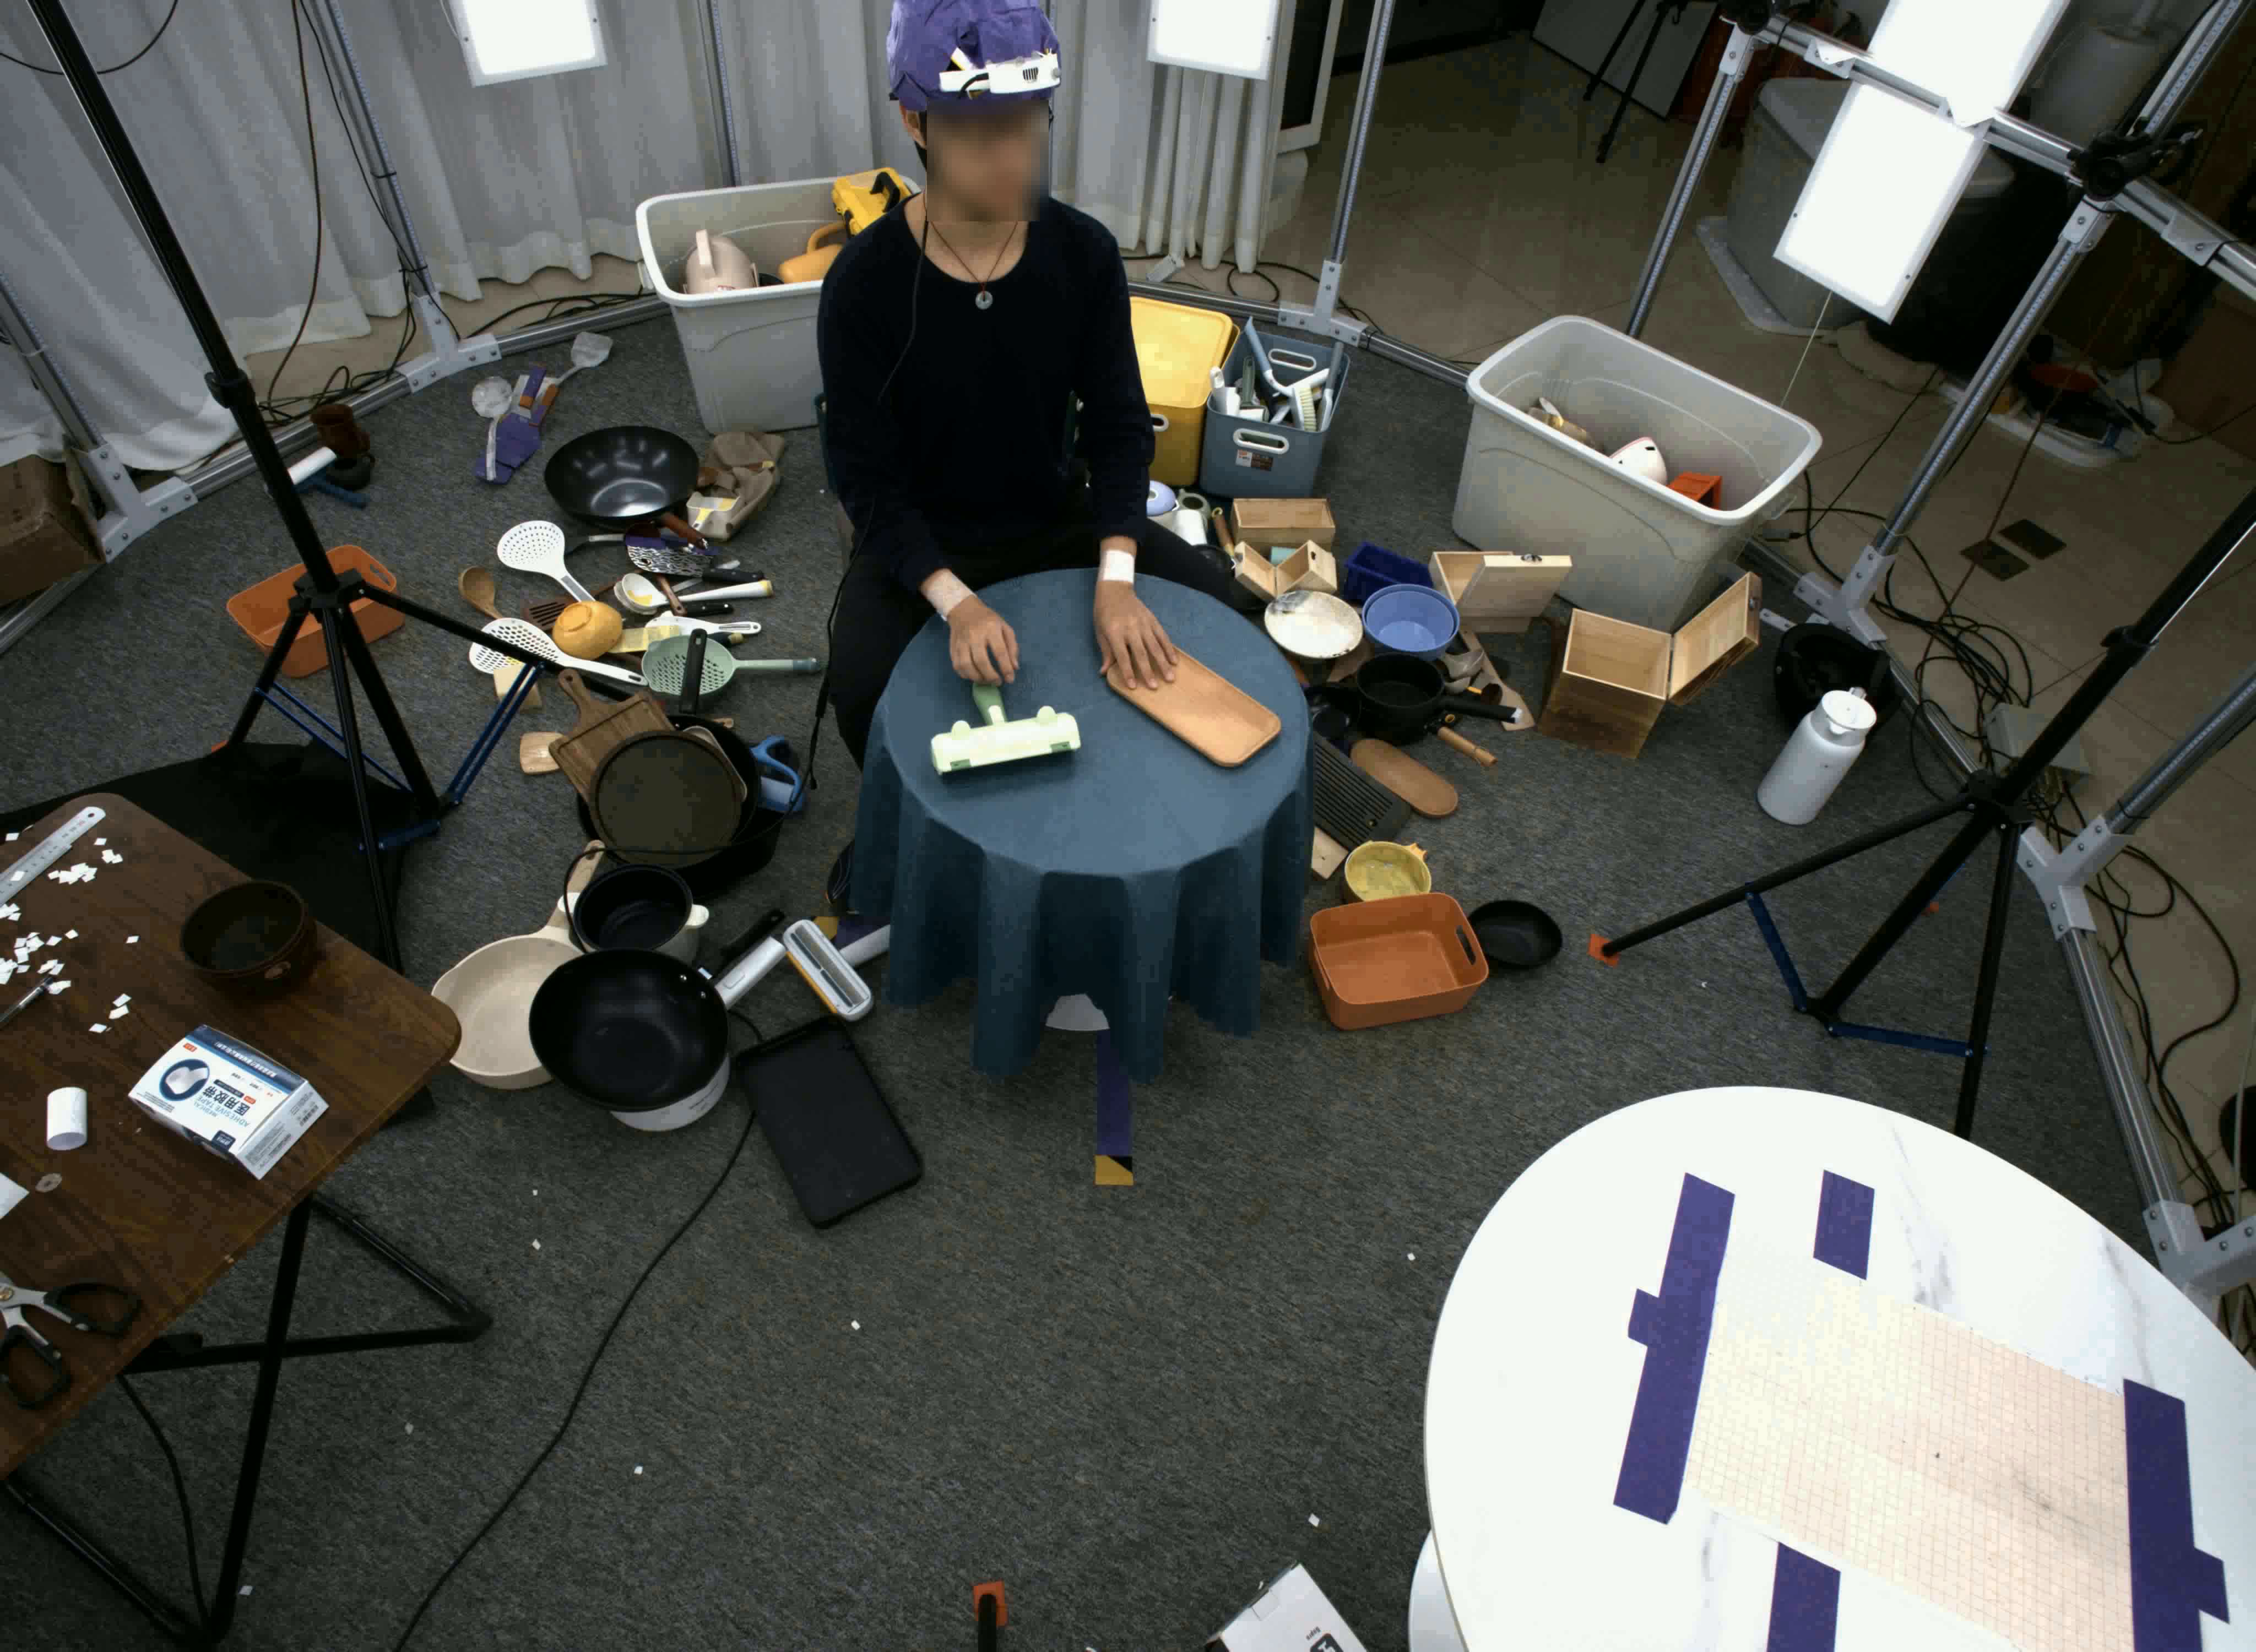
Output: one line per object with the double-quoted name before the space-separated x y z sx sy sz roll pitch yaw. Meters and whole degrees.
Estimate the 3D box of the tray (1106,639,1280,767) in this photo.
"tray" 0.090 -0.176 1.817 0.254 0.022 0.132 37 55 26

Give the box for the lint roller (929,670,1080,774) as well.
"lint roller" -0.180 -0.160 1.739 0.198 0.080 0.187 -11 57 -14
